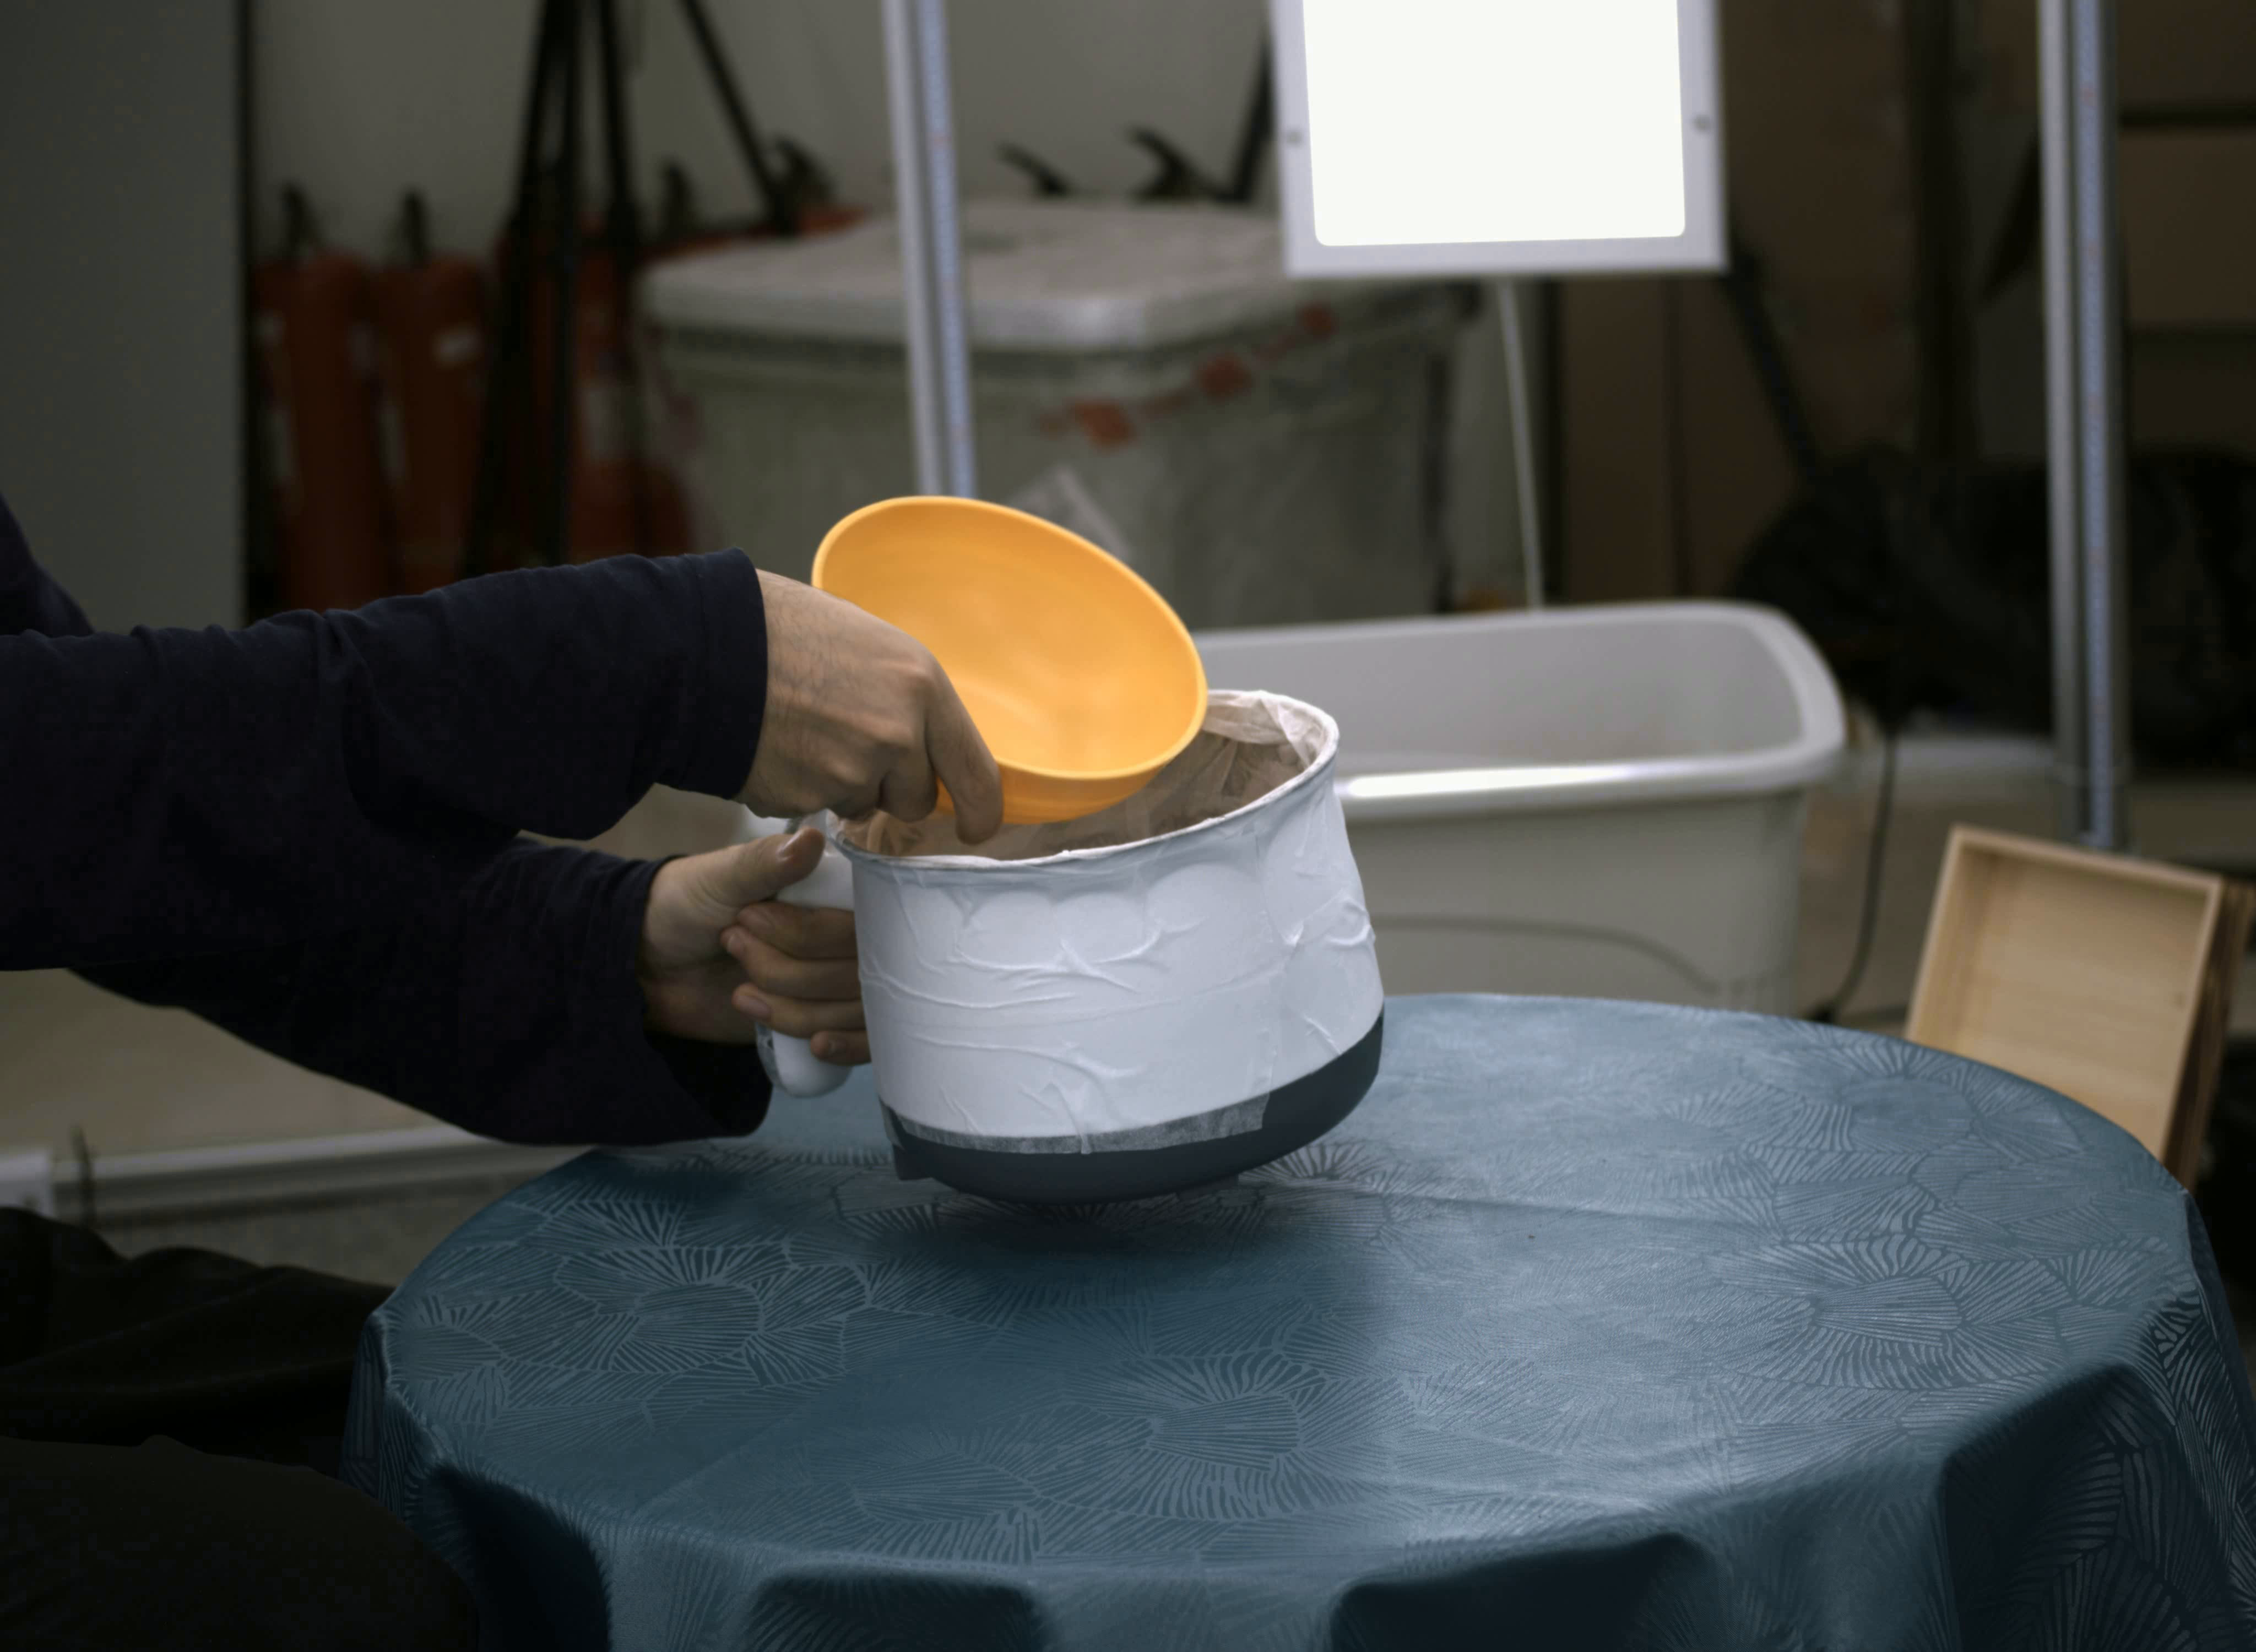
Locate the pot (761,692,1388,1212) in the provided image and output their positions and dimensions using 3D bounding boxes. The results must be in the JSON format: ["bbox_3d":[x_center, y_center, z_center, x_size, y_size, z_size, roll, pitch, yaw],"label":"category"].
[{"bbox_3d":[-0.028,0.045,1.890,0.238,0.137,0.175,-3,19,30],"label":"pot"}]

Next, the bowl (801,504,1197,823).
[{"bbox_3d":[-0.053,-0.044,1.889,0.143,0.061,0.145,16,34,-13],"label":"bowl"}]
